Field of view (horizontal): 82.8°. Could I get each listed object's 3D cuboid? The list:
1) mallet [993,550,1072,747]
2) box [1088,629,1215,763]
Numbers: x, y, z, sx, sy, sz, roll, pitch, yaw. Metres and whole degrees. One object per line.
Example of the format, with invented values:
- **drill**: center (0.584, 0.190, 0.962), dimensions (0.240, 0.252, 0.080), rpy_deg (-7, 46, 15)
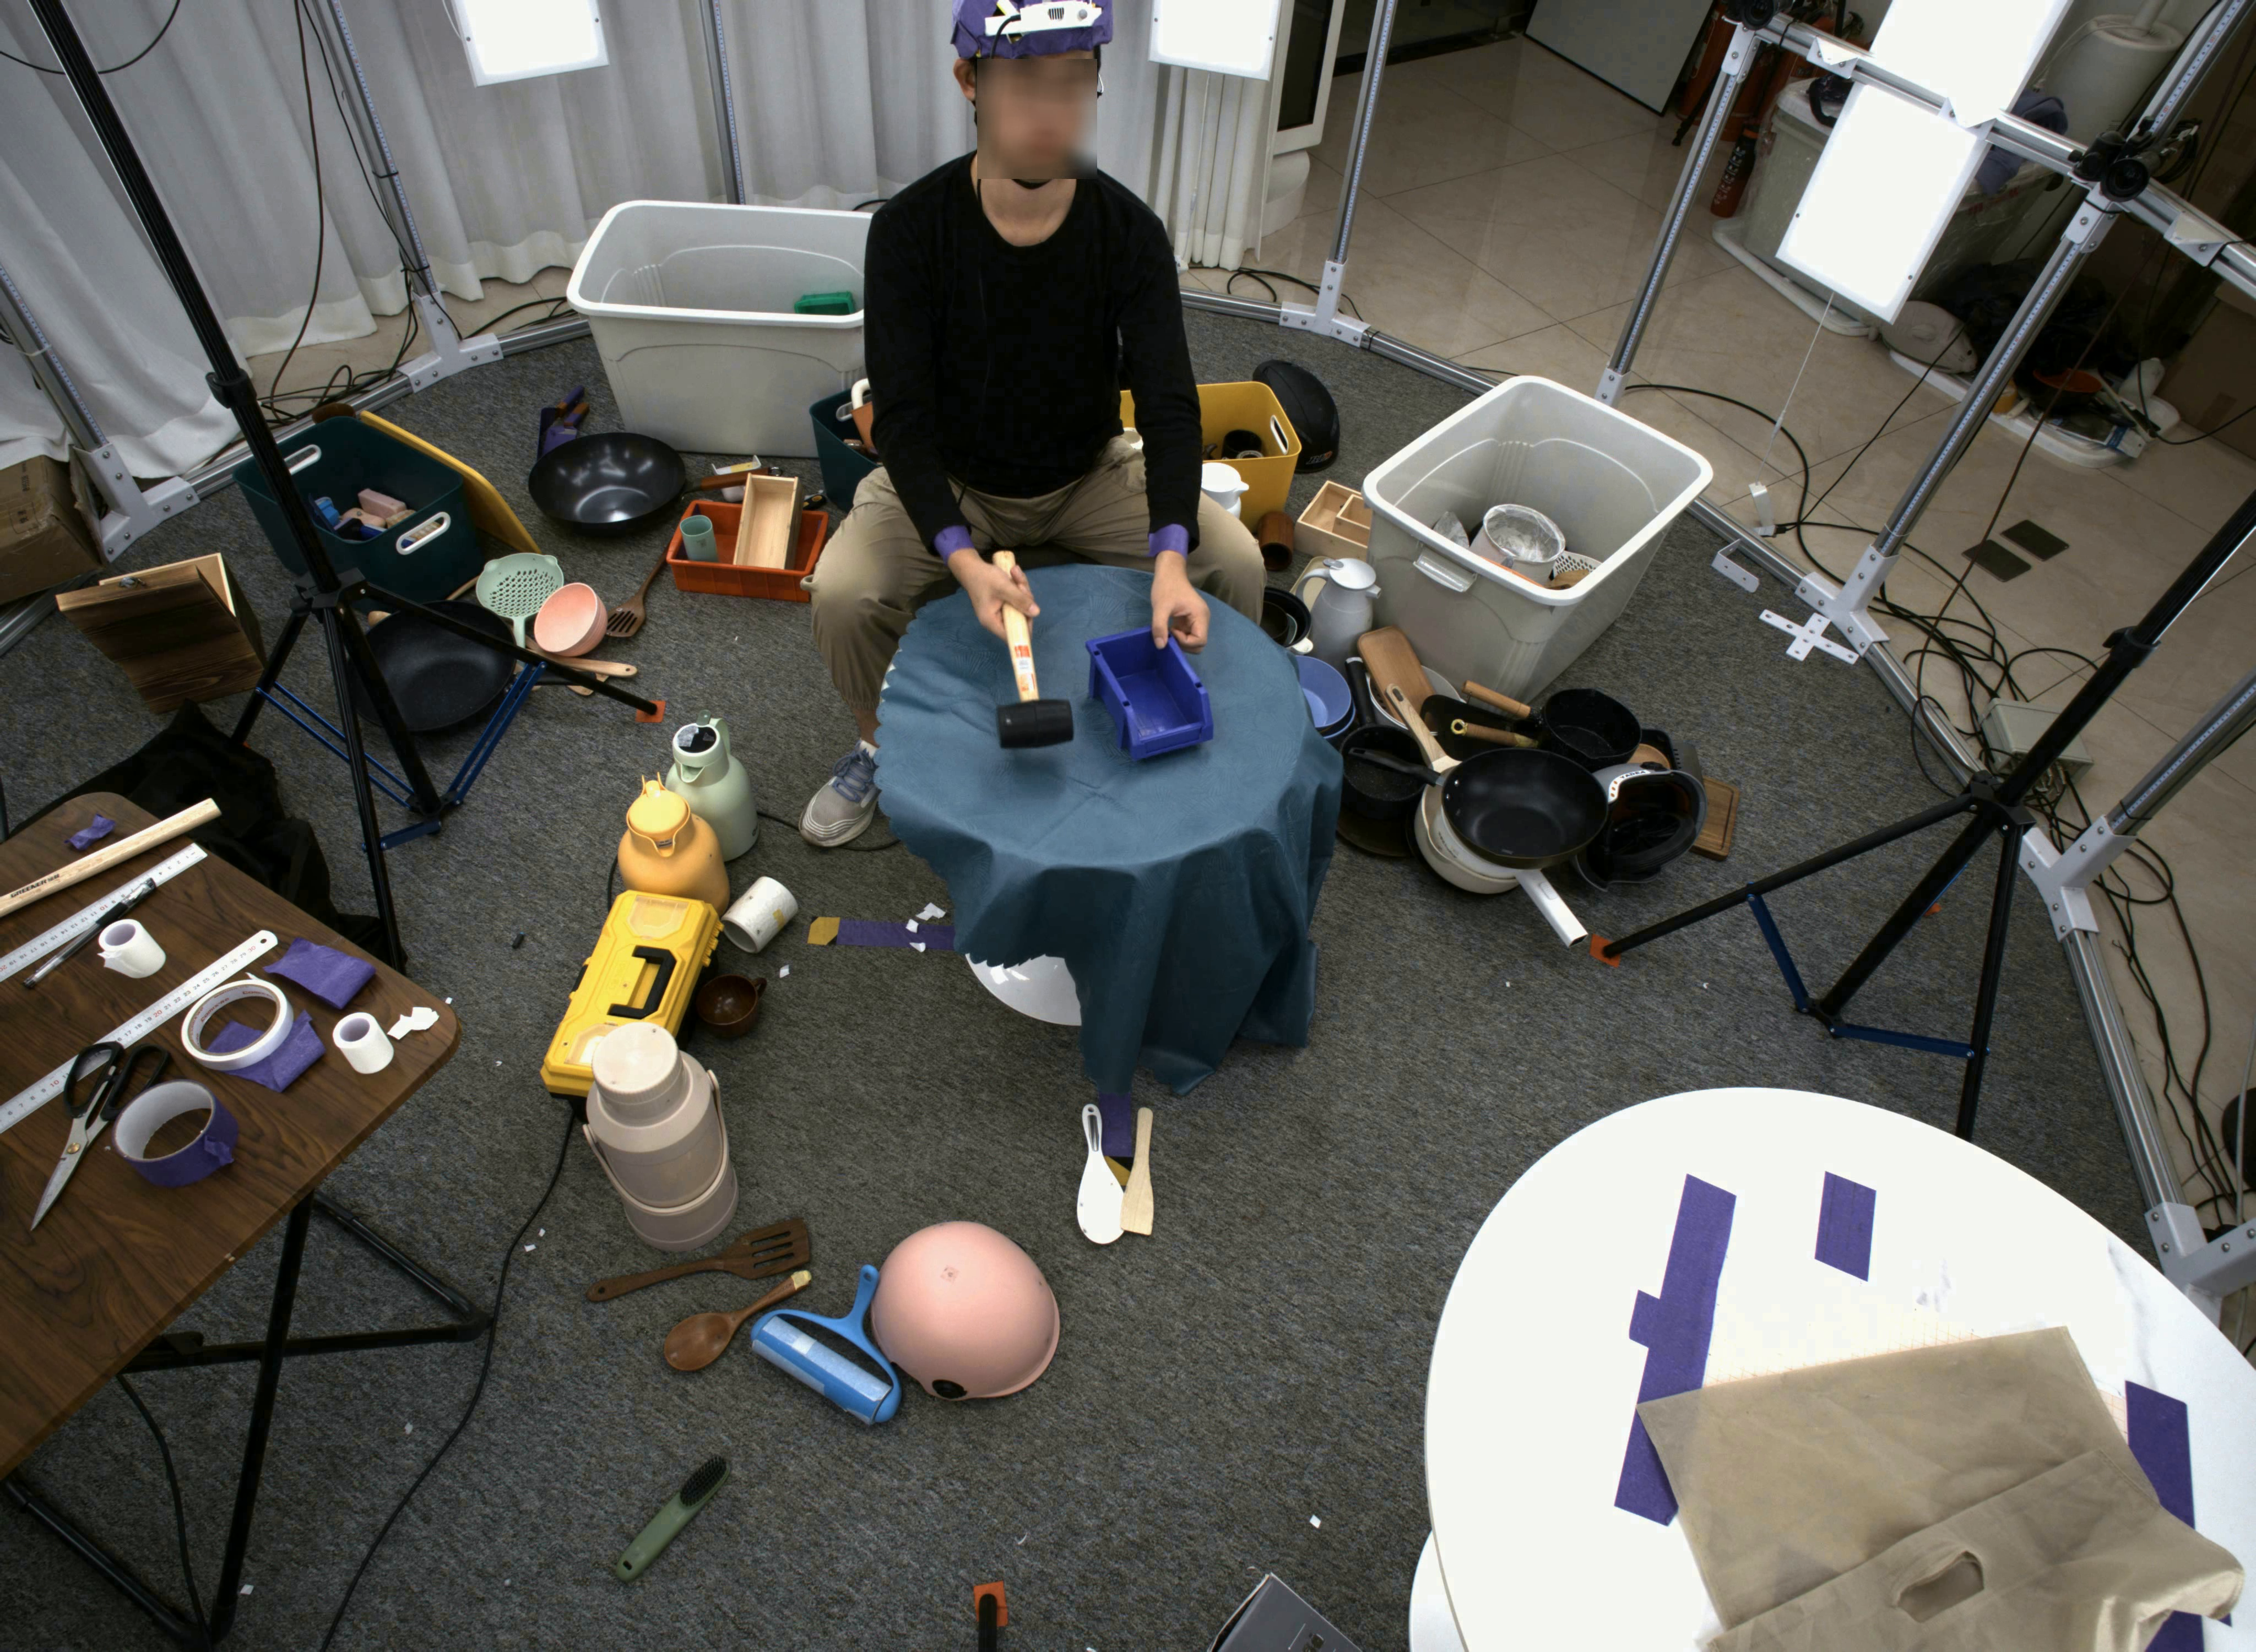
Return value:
- **mallet**: center (-0.148, -0.255, 1.763), dimensions (0.101, 0.063, 0.347), rpy_deg (-3, 58, -11)
- **box**: center (0.033, -0.177, 1.772), dimensions (0.124, 0.080, 0.184), rpy_deg (-15, 49, -16)
